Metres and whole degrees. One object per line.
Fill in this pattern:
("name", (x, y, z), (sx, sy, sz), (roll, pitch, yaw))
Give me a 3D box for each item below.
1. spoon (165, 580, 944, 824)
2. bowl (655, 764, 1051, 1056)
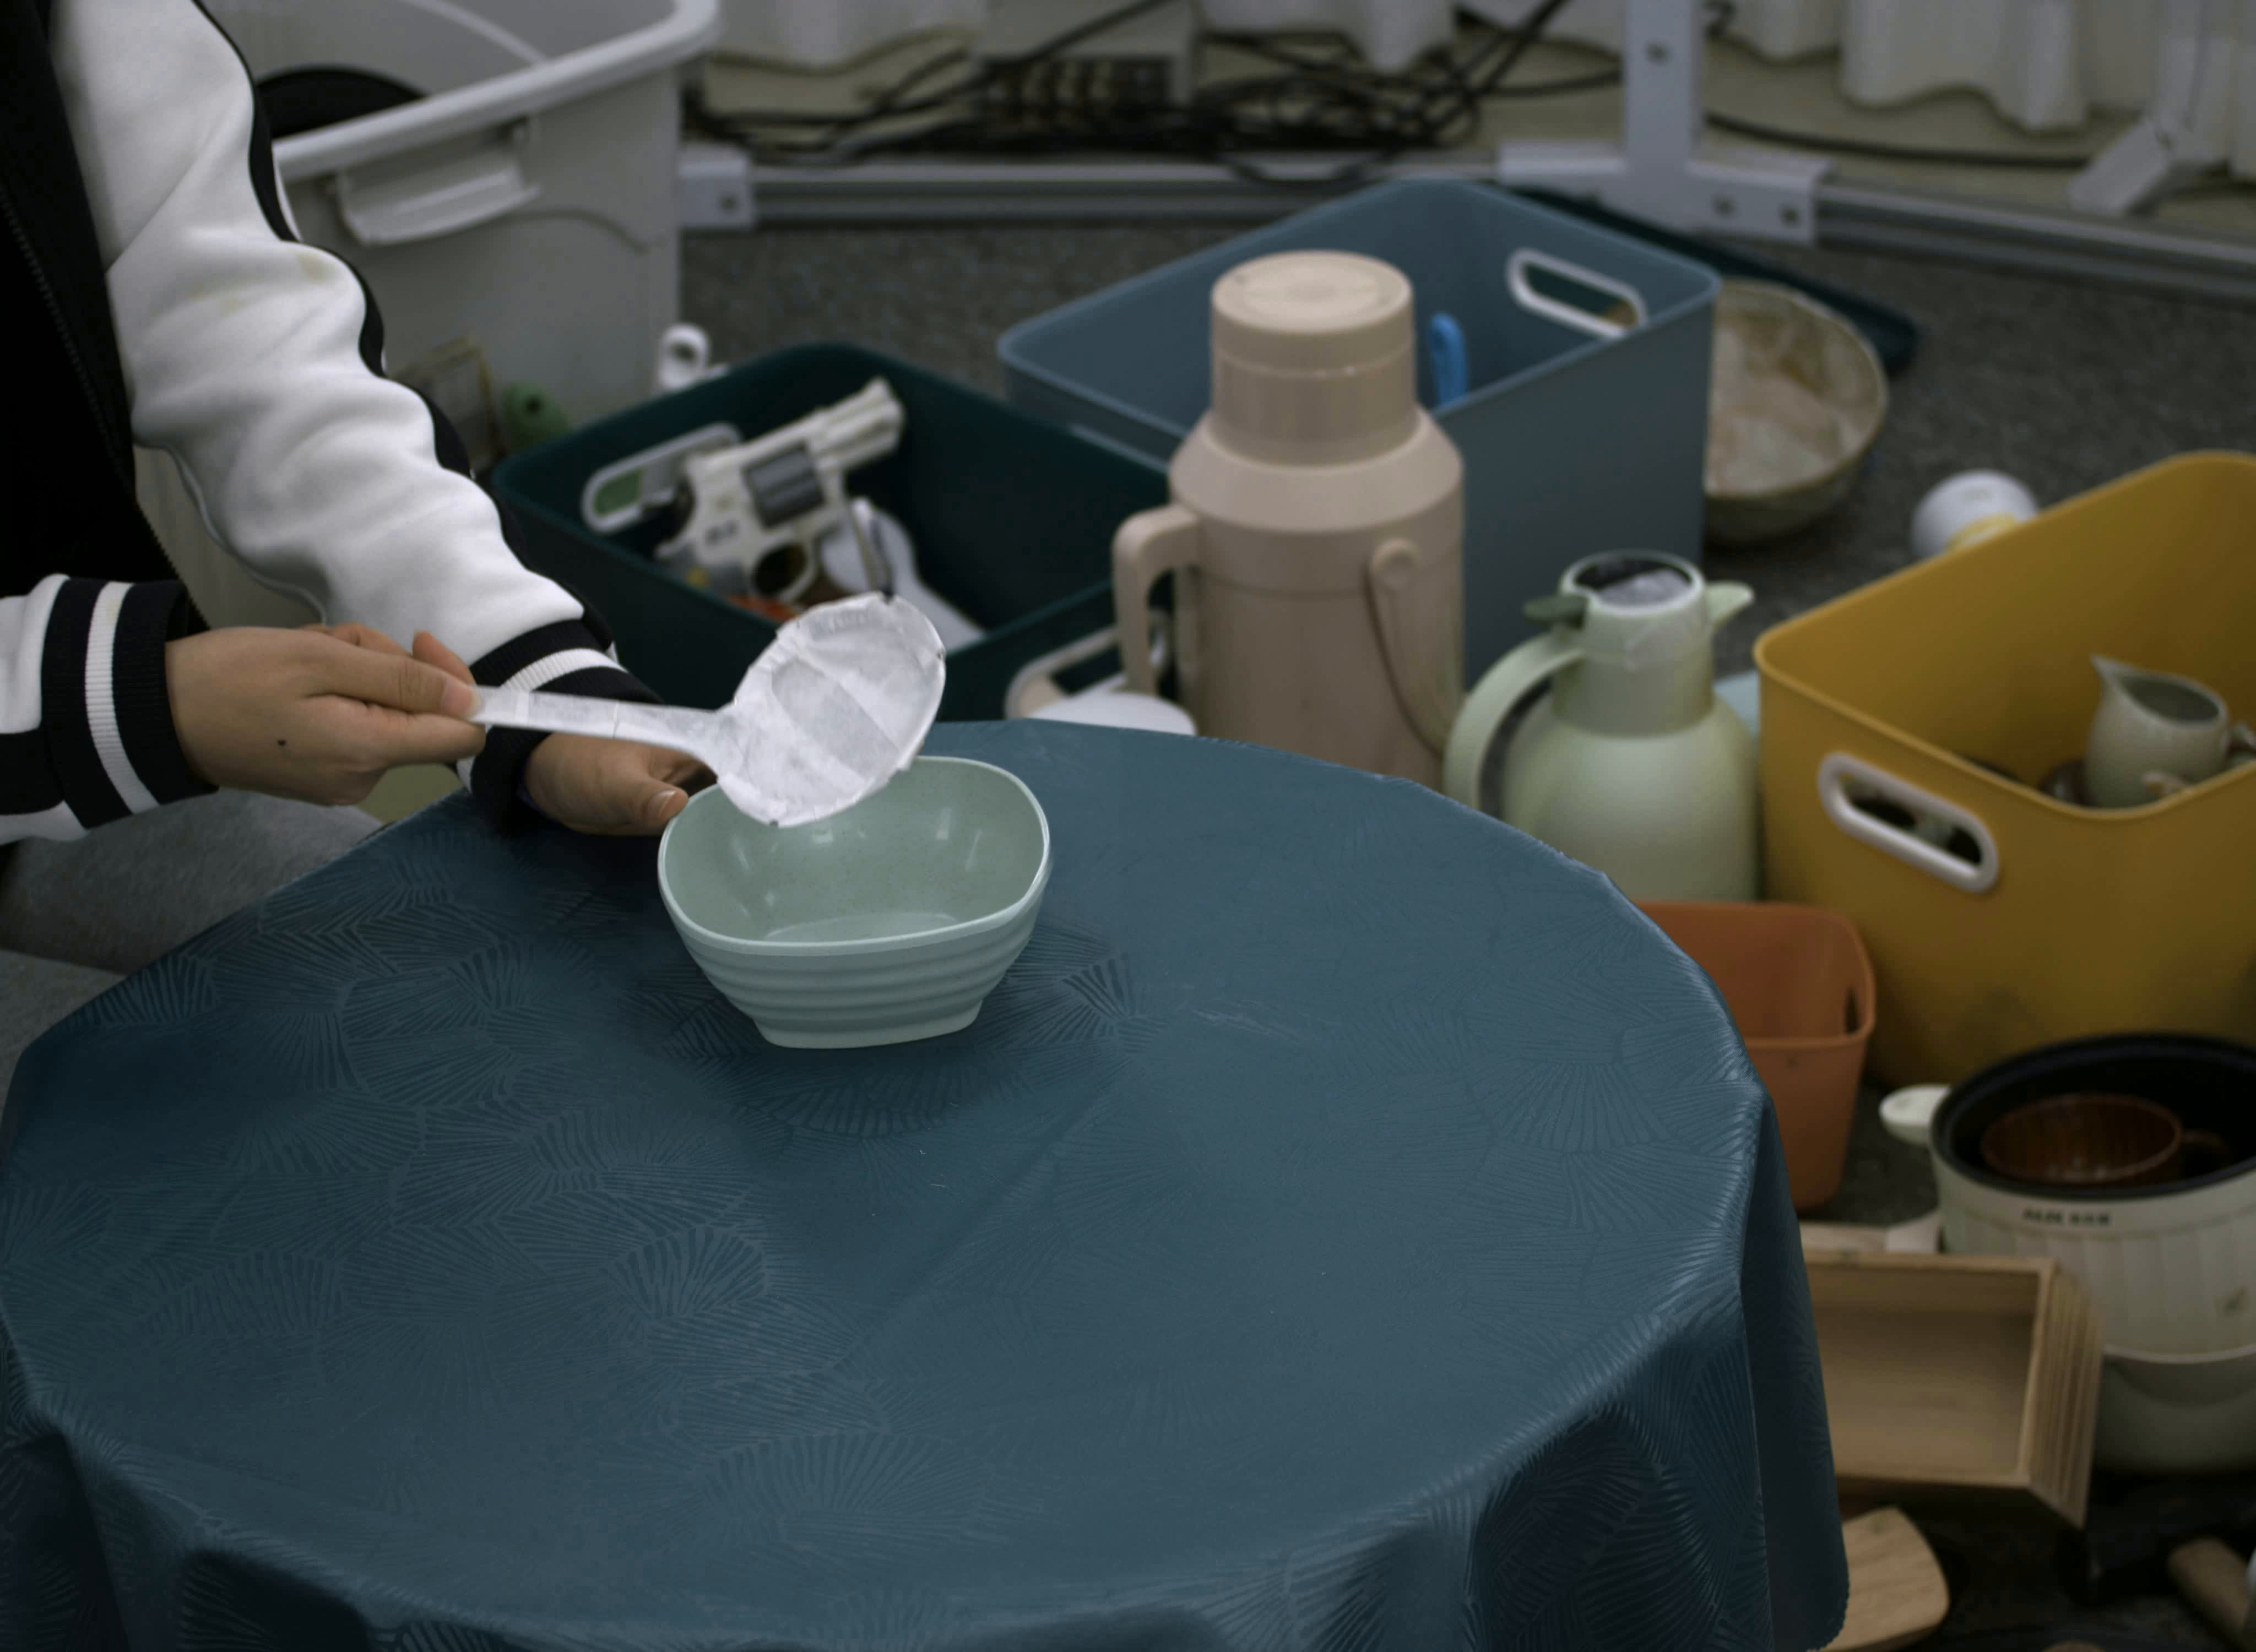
("spoon", (-0.200, -0.059, 1.951), (0.276, 0.058, 0.103), (11, 52, 3))
("bowl", (-0.095, 0.035, 1.981), (0.151, 0.058, 0.154), (-2, 27, 1))
